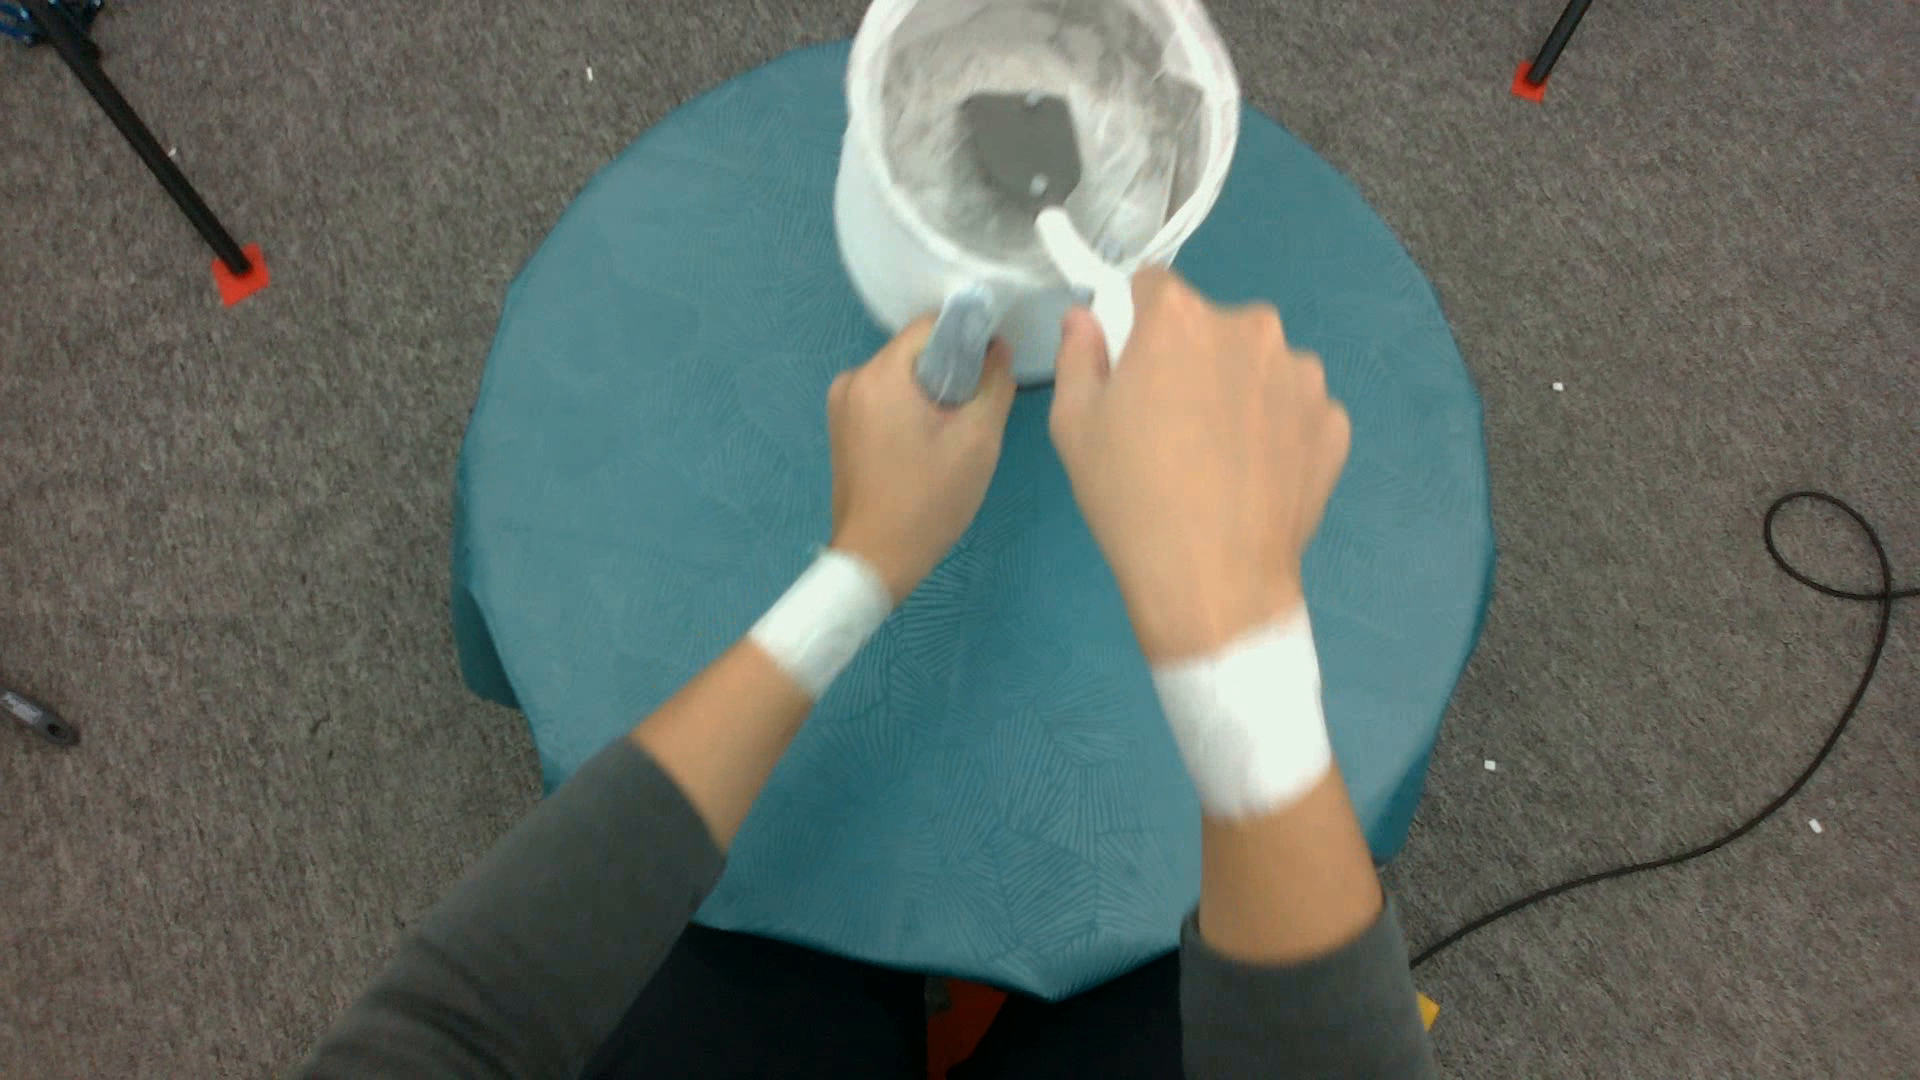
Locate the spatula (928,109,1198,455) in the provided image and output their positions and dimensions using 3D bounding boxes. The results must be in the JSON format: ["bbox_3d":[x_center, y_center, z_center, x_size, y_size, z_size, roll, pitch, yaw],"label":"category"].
[{"bbox_3d":[0.038,-0.127,0.595,0.059,0.032,0.288,-6,37,-11],"label":"spatula"}]

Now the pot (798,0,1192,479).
[{"bbox_3d":[0.003,-0.148,0.668,0.179,0.136,0.234,17,73,-3],"label":"pot"}]
